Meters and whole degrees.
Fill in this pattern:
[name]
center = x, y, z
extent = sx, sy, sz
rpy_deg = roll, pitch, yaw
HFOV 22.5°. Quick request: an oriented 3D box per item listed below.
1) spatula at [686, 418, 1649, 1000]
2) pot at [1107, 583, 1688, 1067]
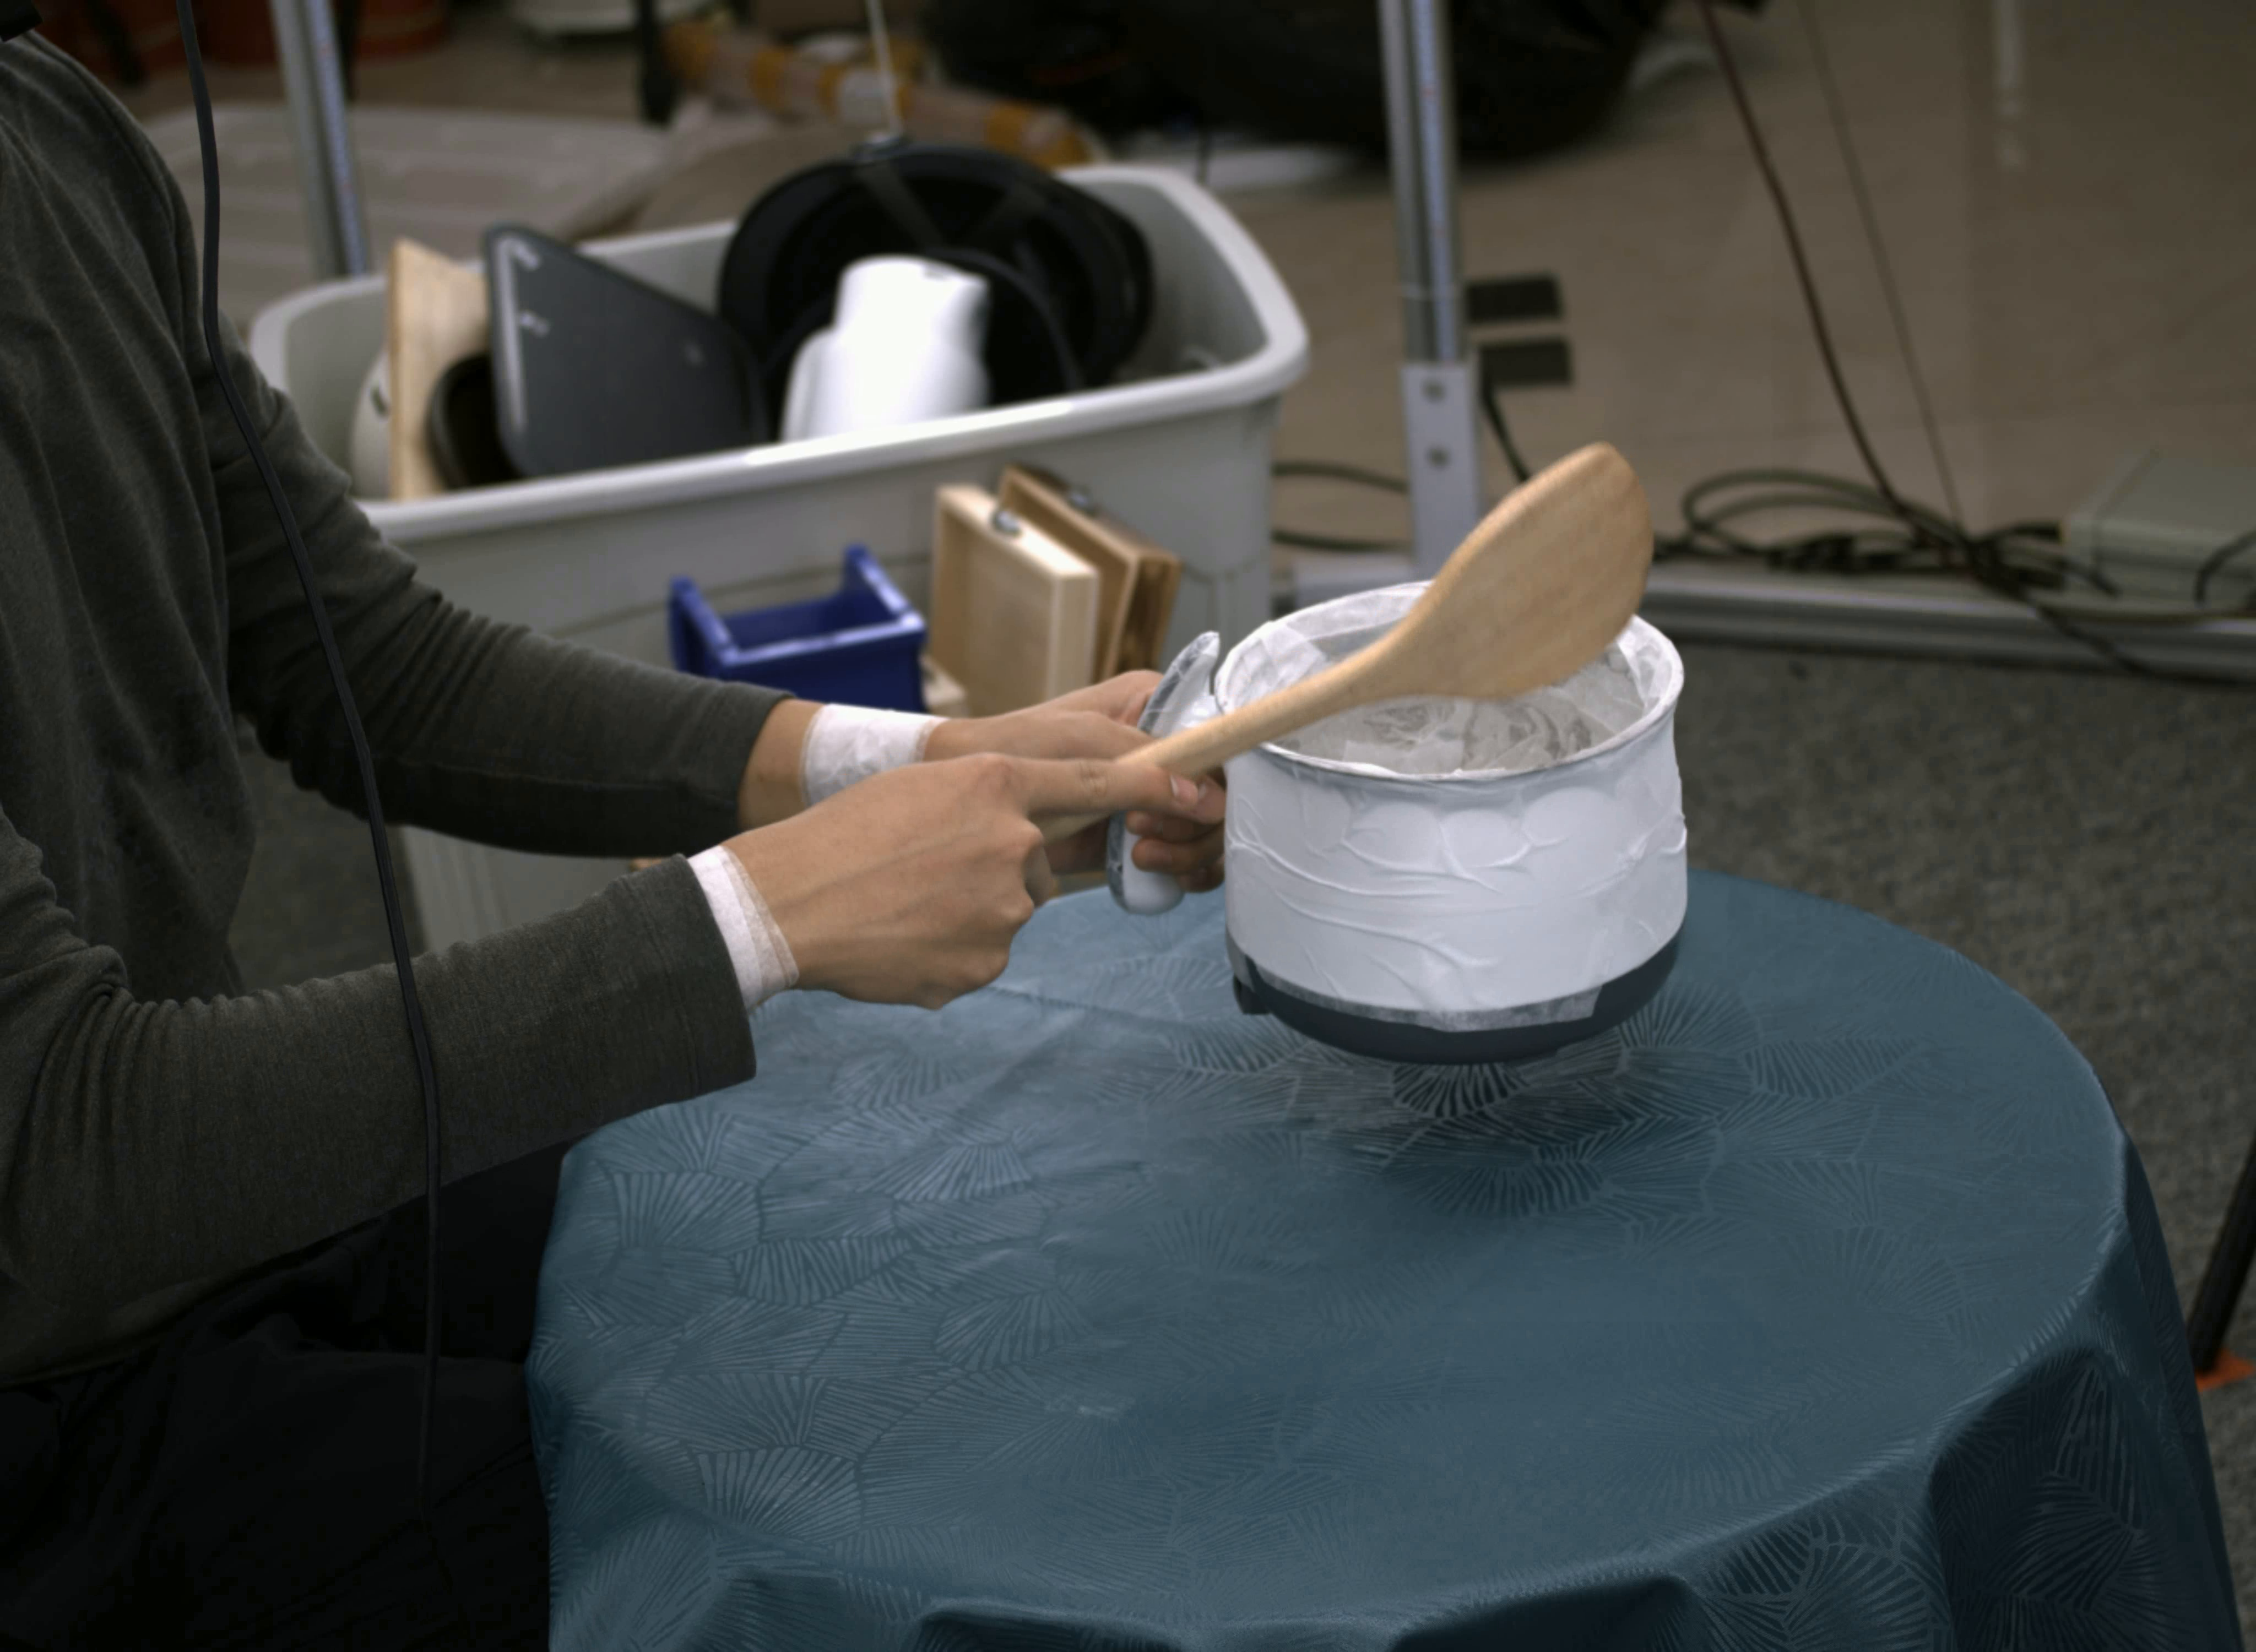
[spatula]
center = 0.017, -0.033, 2.012
extent = 0.389, 0.097, 0.018
rpy_deg = -25, 46, -9
[pot]
center = 0.099, -0.003, 2.168
extent = 0.233, 0.139, 0.176
rpy_deg = 8, 29, 22
